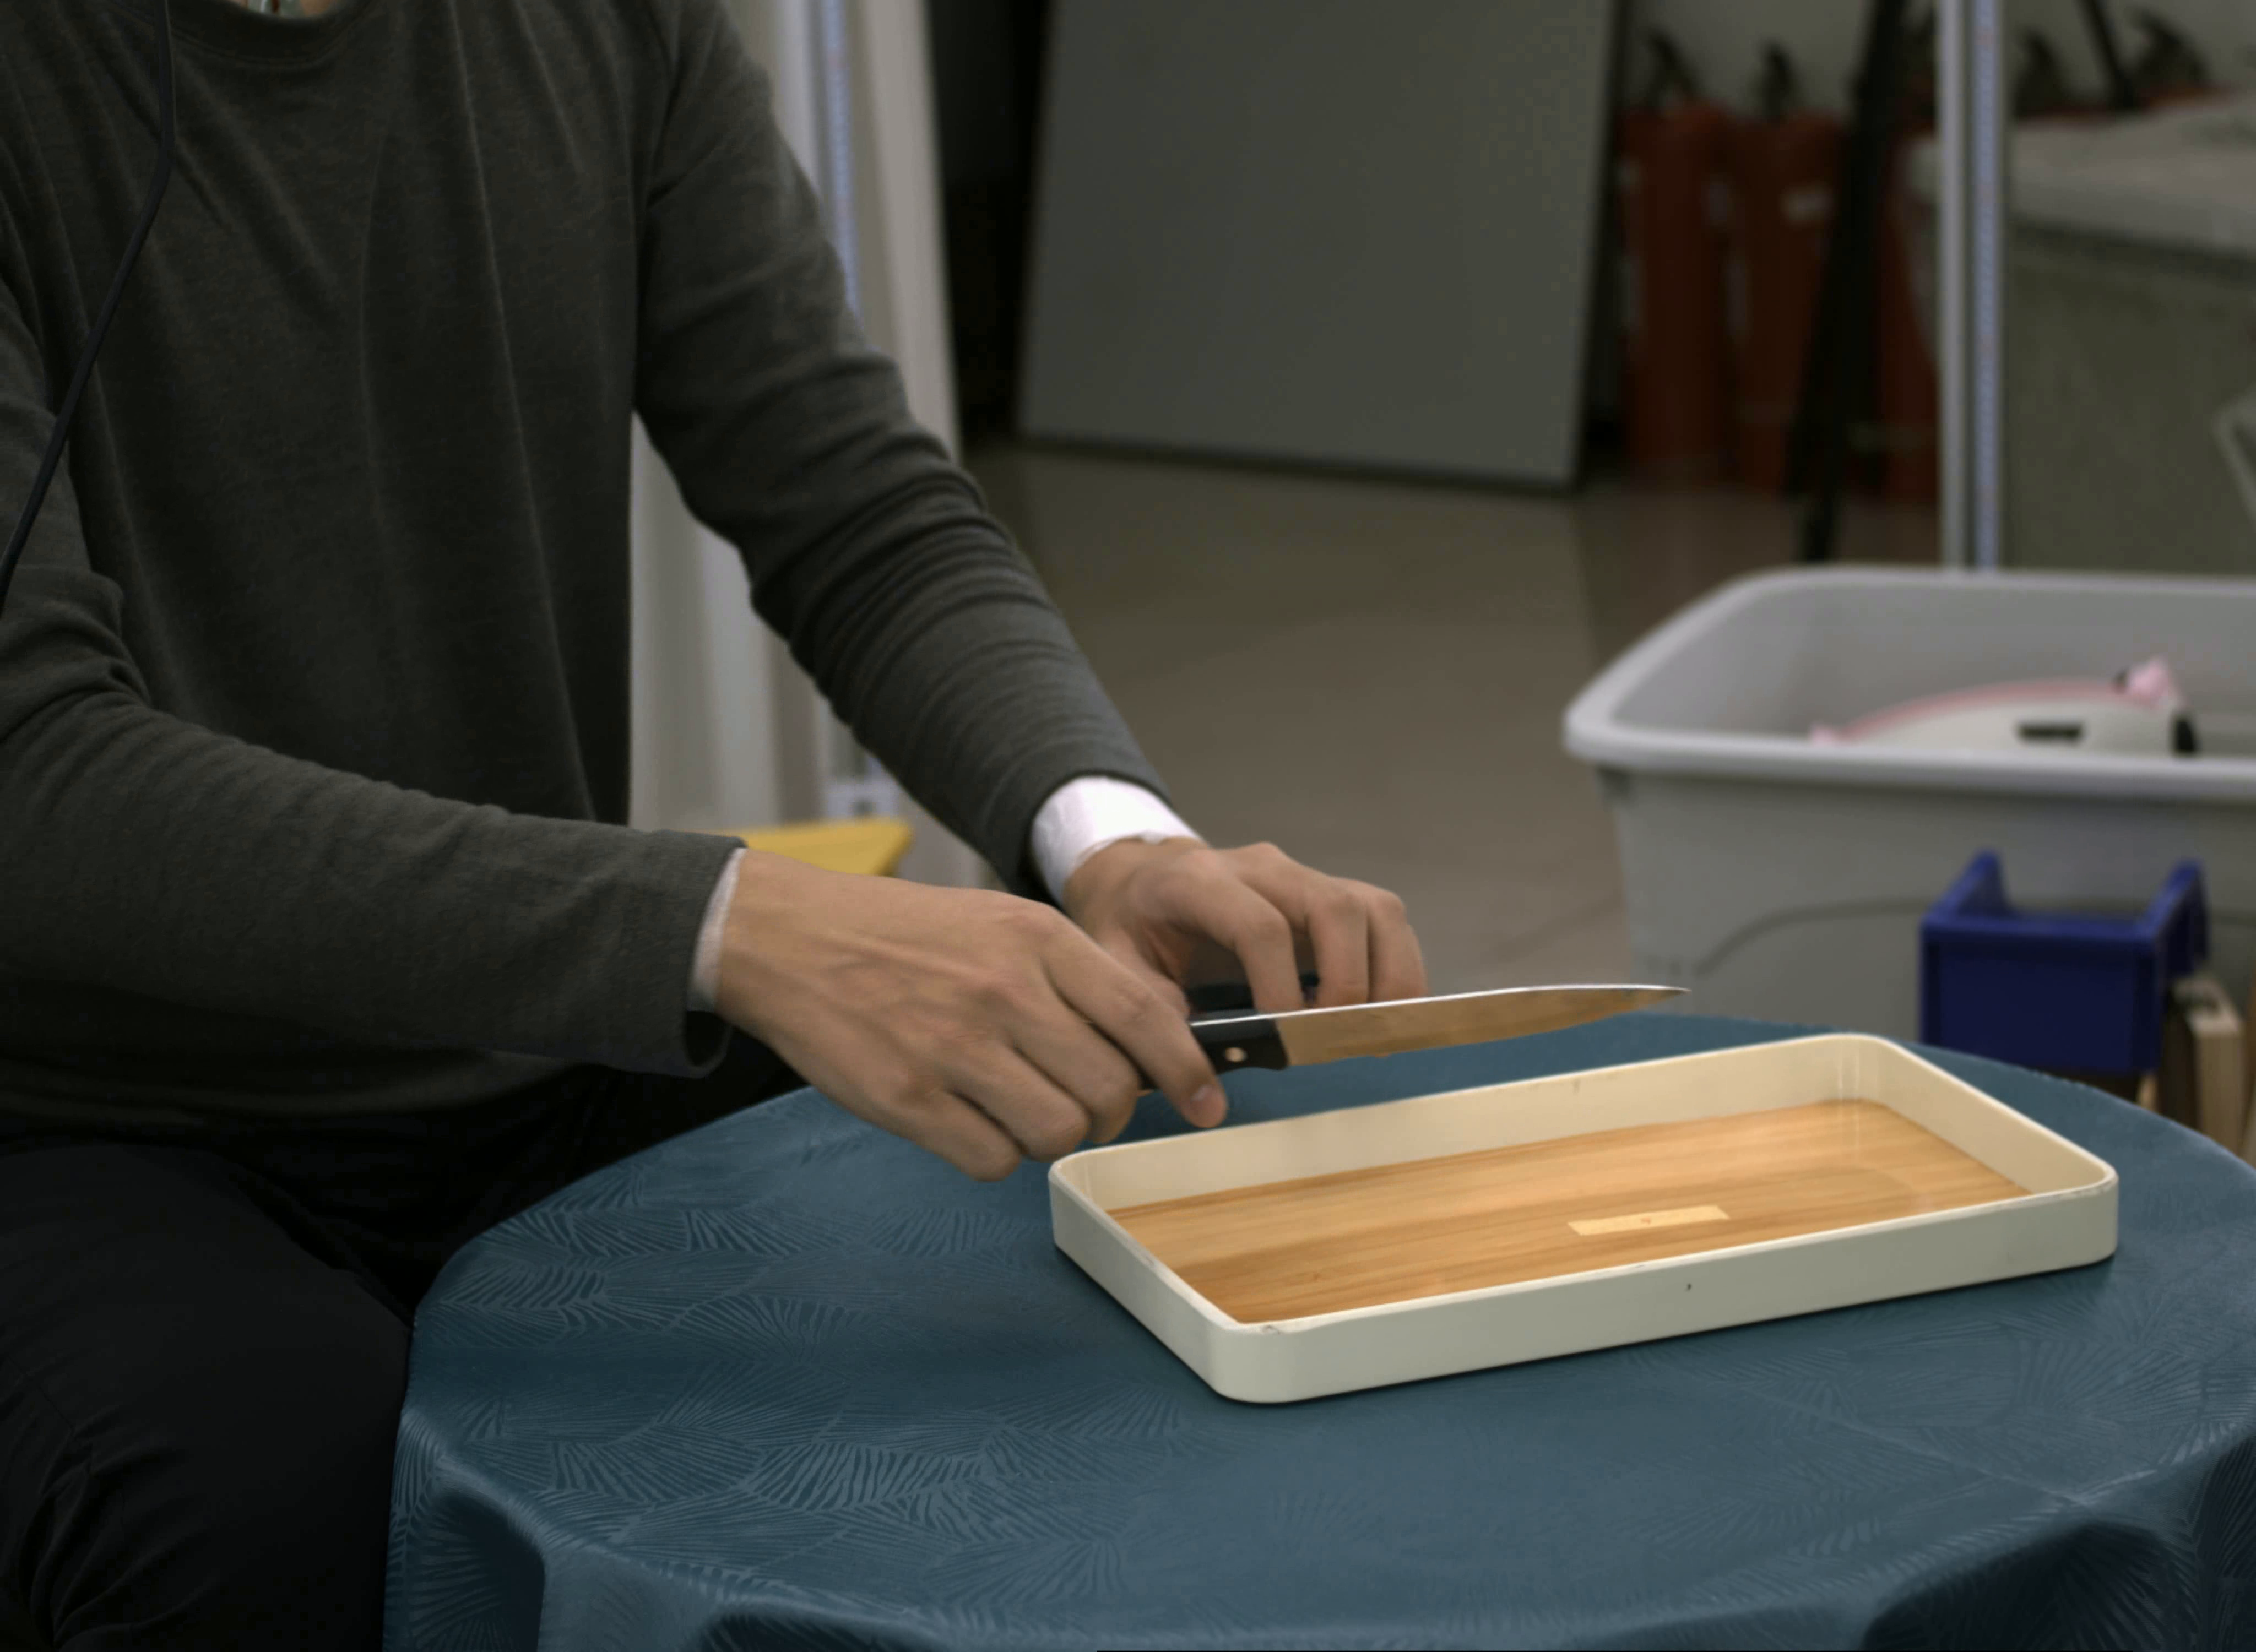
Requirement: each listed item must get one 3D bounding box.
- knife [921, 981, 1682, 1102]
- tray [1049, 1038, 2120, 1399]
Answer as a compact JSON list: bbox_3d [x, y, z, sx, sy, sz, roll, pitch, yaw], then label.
[{"bbox_3d":[0.049,0.061,1.615,0.237,0.024,0.016,-7,45,15],"label":"knife"},{"bbox_3d":[0.140,0.120,1.684,0.294,0.028,0.193,-8,13,-16],"label":"tray"}]
